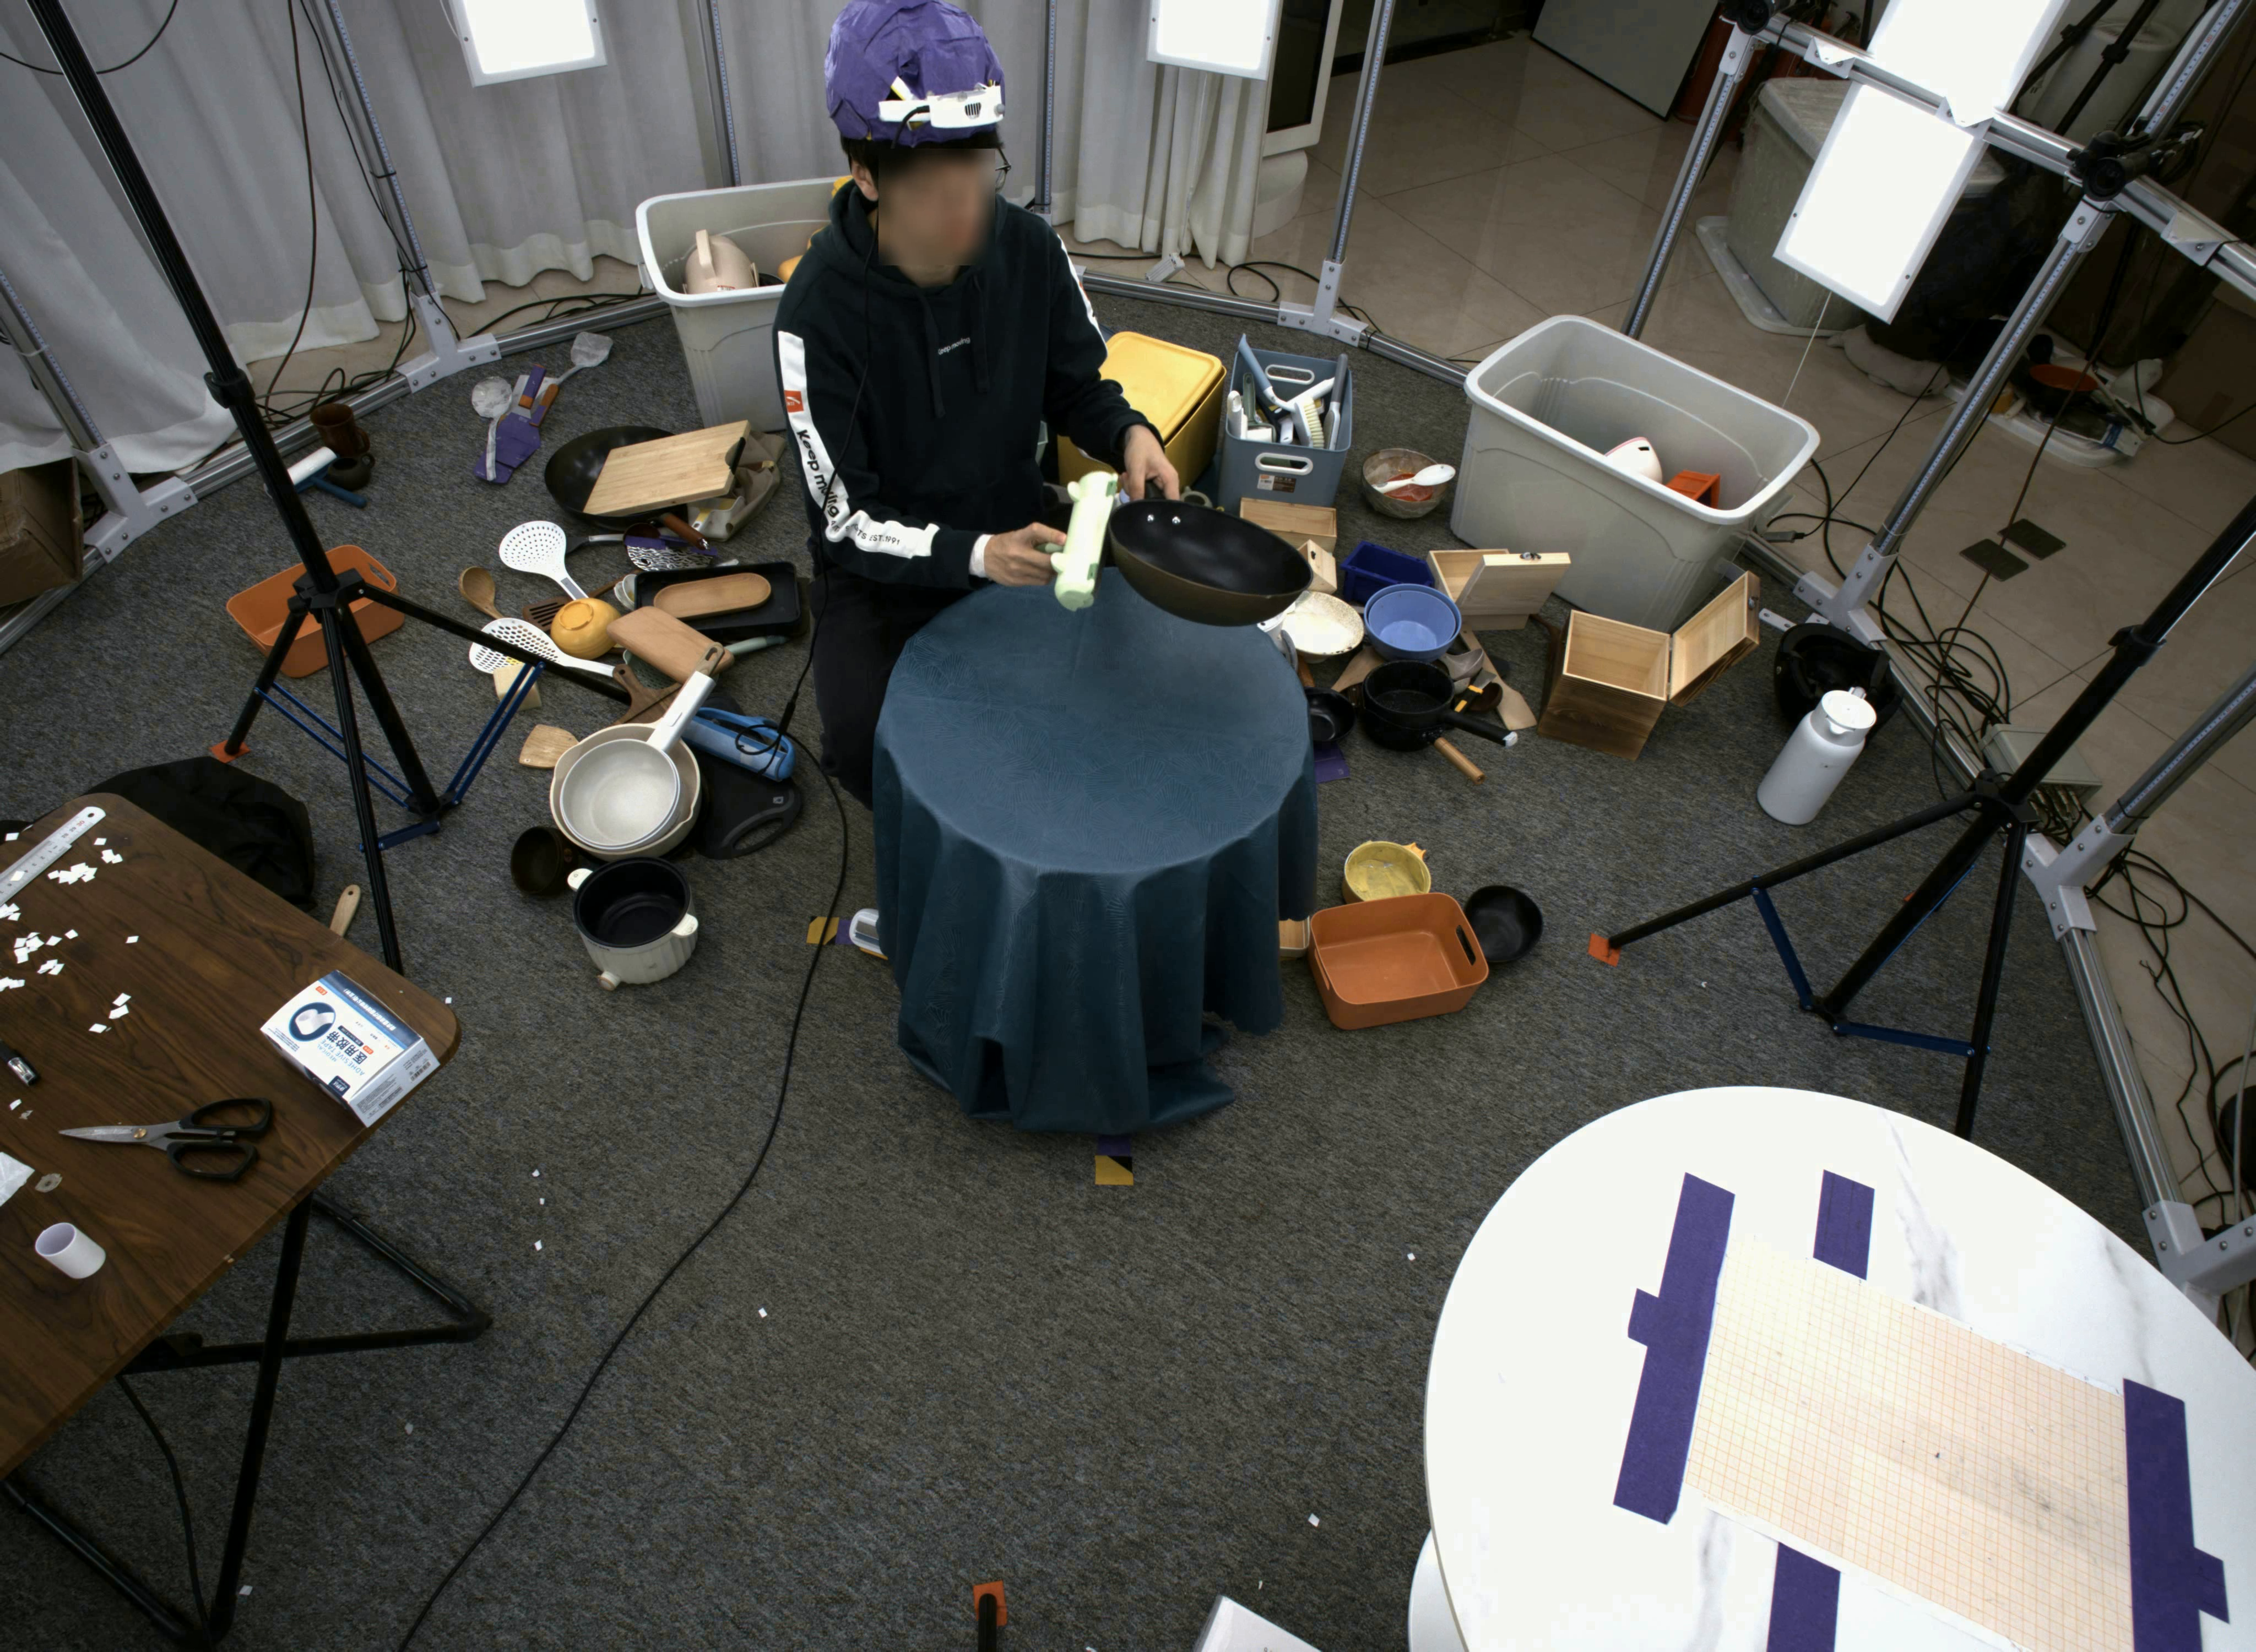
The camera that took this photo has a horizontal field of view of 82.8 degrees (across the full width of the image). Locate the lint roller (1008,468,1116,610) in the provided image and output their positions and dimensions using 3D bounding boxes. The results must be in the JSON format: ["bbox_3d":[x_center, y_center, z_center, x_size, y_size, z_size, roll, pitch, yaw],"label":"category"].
[{"bbox_3d":[-0.105,-0.380,1.726,0.183,0.080,0.202,-7,60,33],"label":"lint roller"}]

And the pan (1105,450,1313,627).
[{"bbox_3d":[0.059,-0.392,1.772,0.287,0.085,0.474,-4,37,-30],"label":"pan"}]
